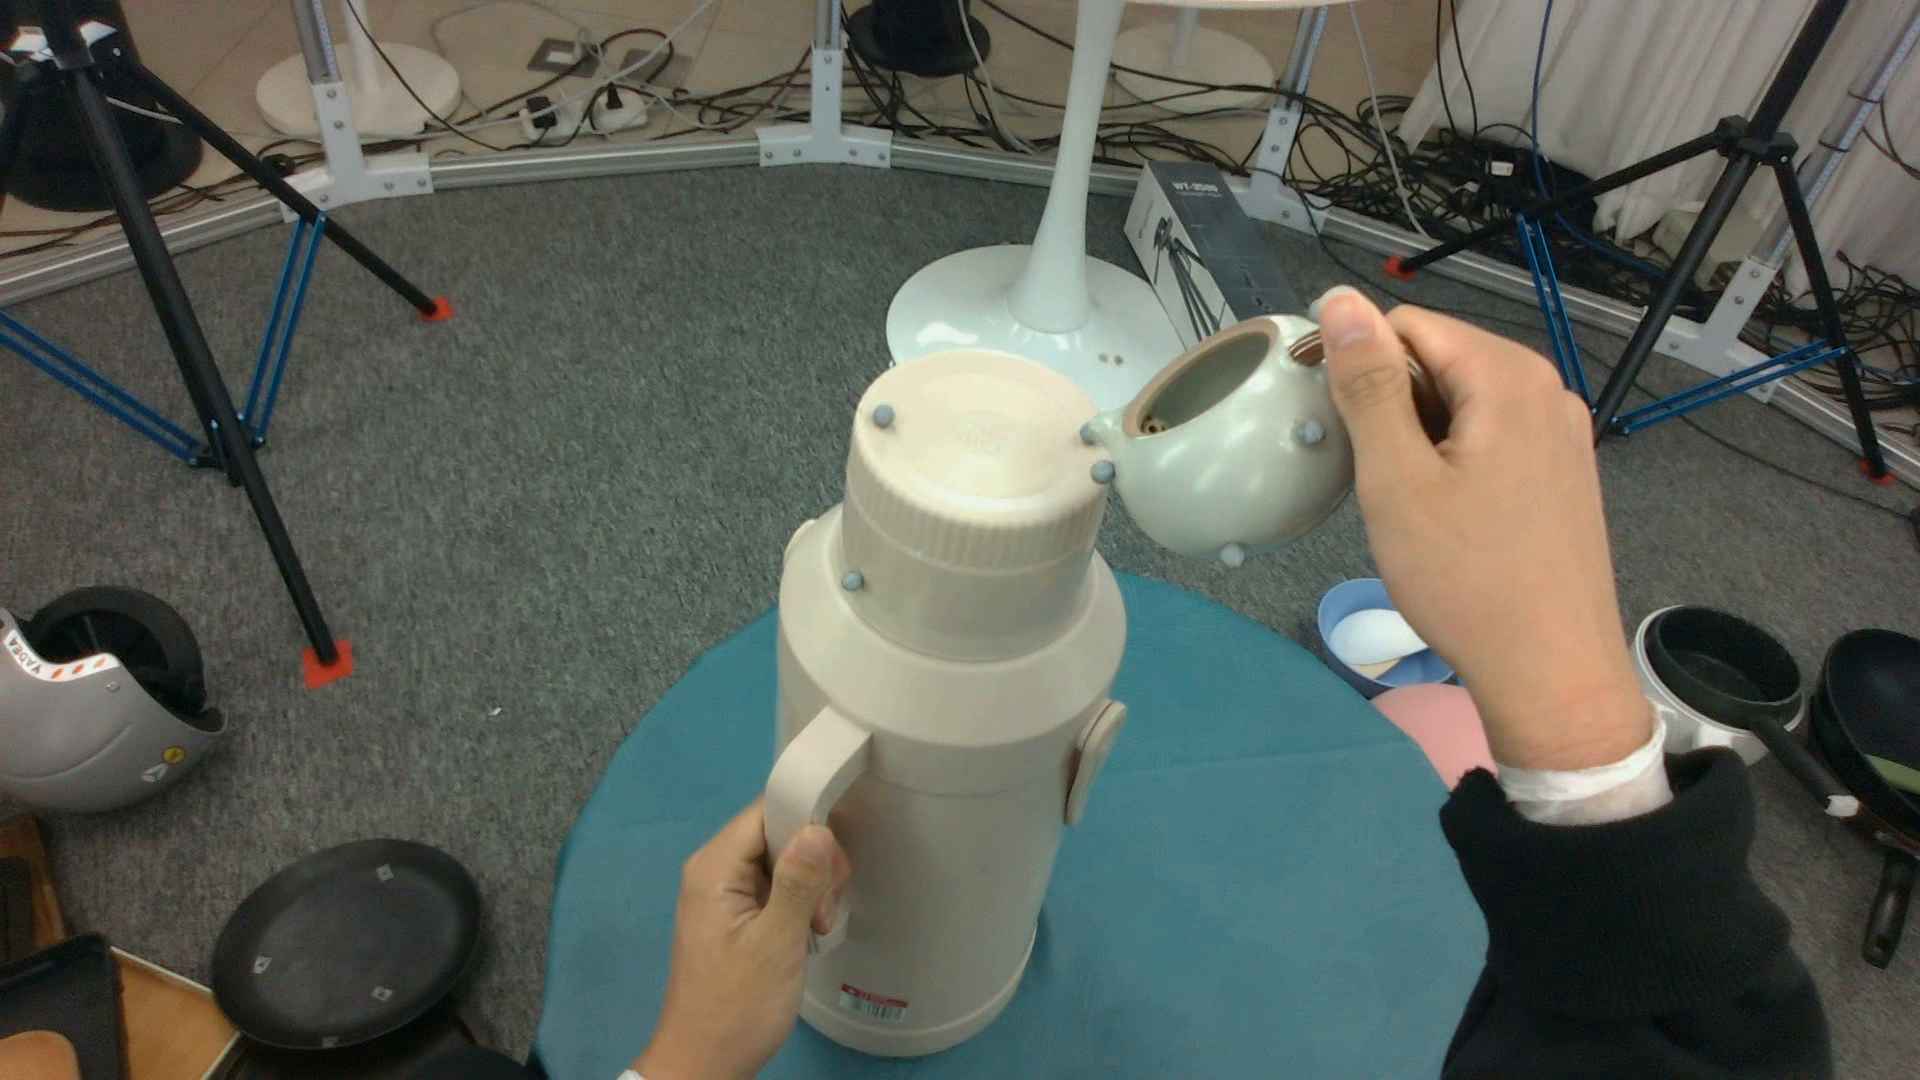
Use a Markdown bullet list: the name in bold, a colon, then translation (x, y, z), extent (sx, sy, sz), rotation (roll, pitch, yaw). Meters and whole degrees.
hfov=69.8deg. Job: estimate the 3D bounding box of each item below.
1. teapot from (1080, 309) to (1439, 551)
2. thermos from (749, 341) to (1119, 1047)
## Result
- **teapot**: translation (0.101, -0.040, 0.466), extent (0.059, 0.127, 0.092), rotation (50, 49, -18)
- **thermos**: translation (-0.028, 0.099, 0.674), extent (0.175, 0.404, 0.208), rotation (30, 48, 16)
